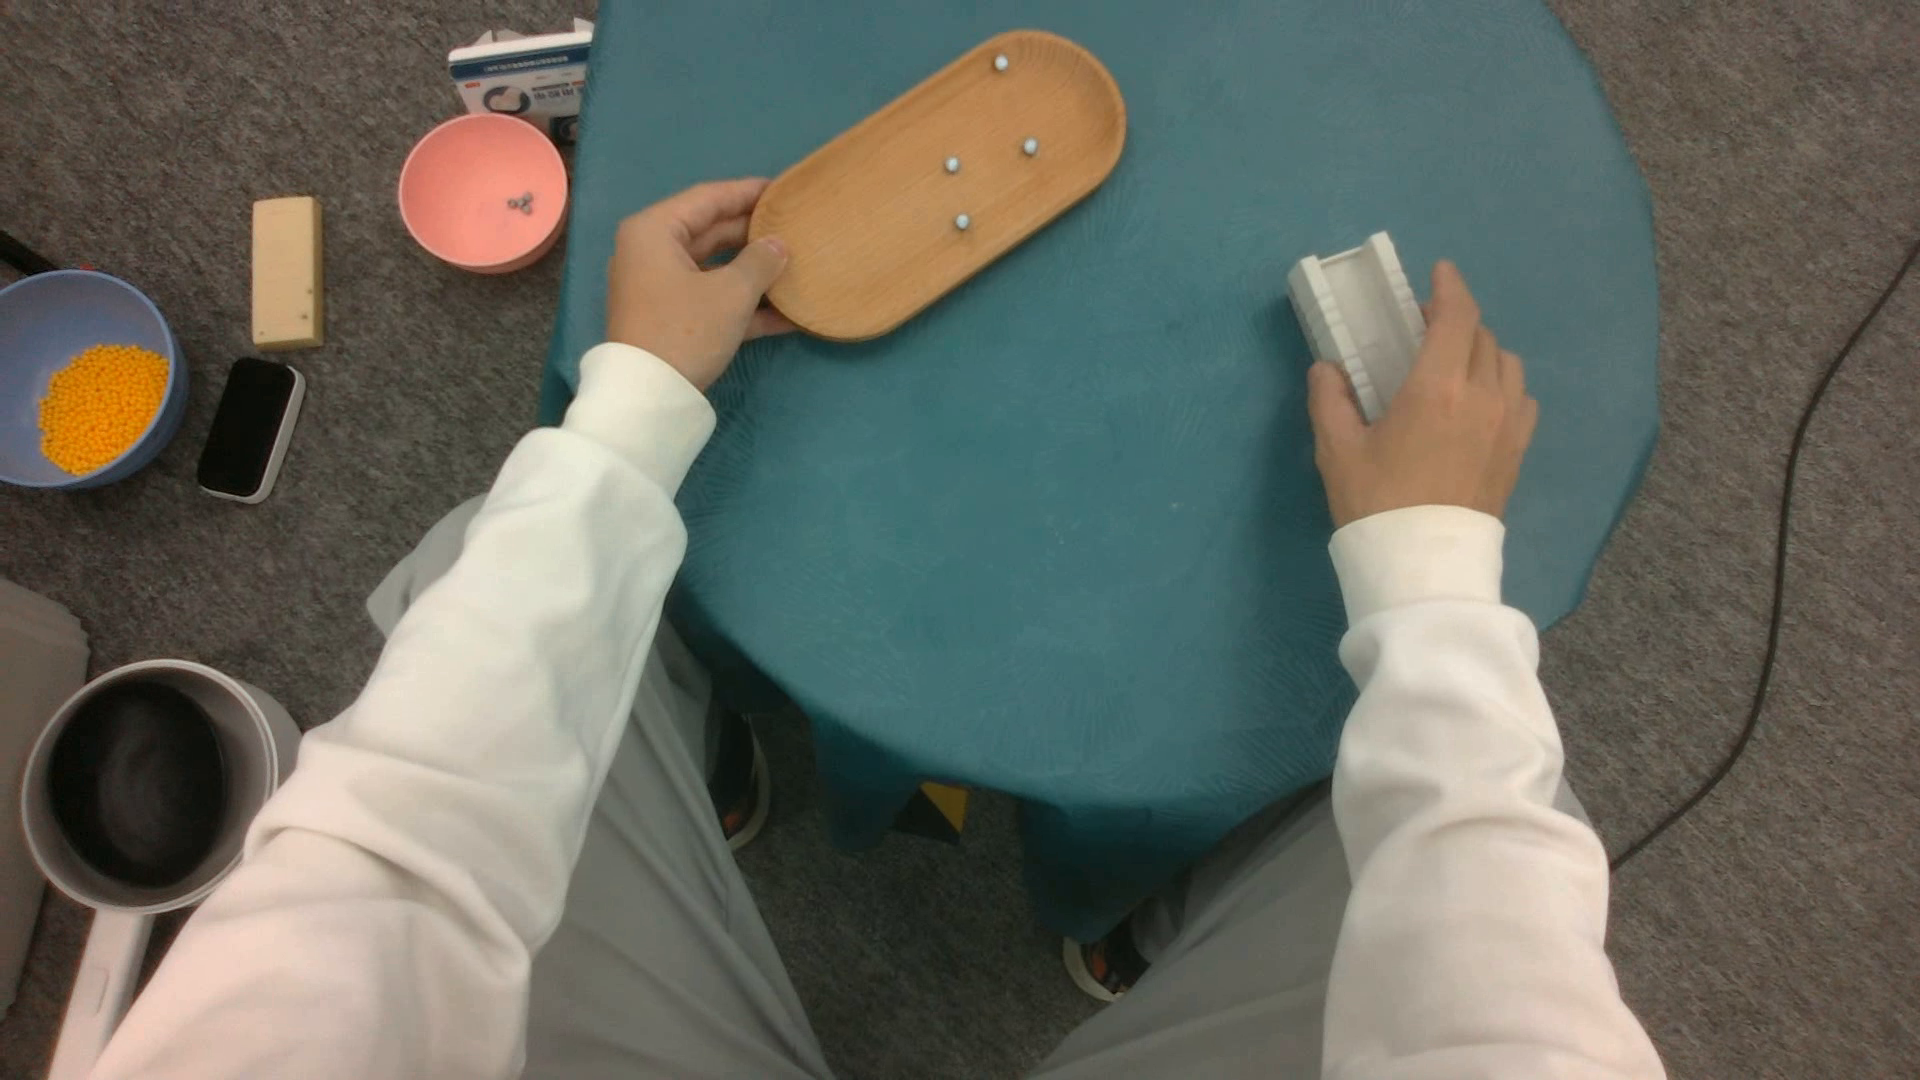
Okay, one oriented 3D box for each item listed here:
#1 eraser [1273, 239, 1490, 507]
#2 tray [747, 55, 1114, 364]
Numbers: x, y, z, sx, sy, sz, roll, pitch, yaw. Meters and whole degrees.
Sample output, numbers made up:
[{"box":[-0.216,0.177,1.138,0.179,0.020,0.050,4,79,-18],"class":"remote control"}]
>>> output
[{"box":[0.221,-0.088,0.734,0.050,0.046,0.134,-25,78,-3],"class":"eraser"},{"box":[-0.014,-0.183,0.759,0.231,0.020,0.102,-39,85,-12],"class":"tray"}]
